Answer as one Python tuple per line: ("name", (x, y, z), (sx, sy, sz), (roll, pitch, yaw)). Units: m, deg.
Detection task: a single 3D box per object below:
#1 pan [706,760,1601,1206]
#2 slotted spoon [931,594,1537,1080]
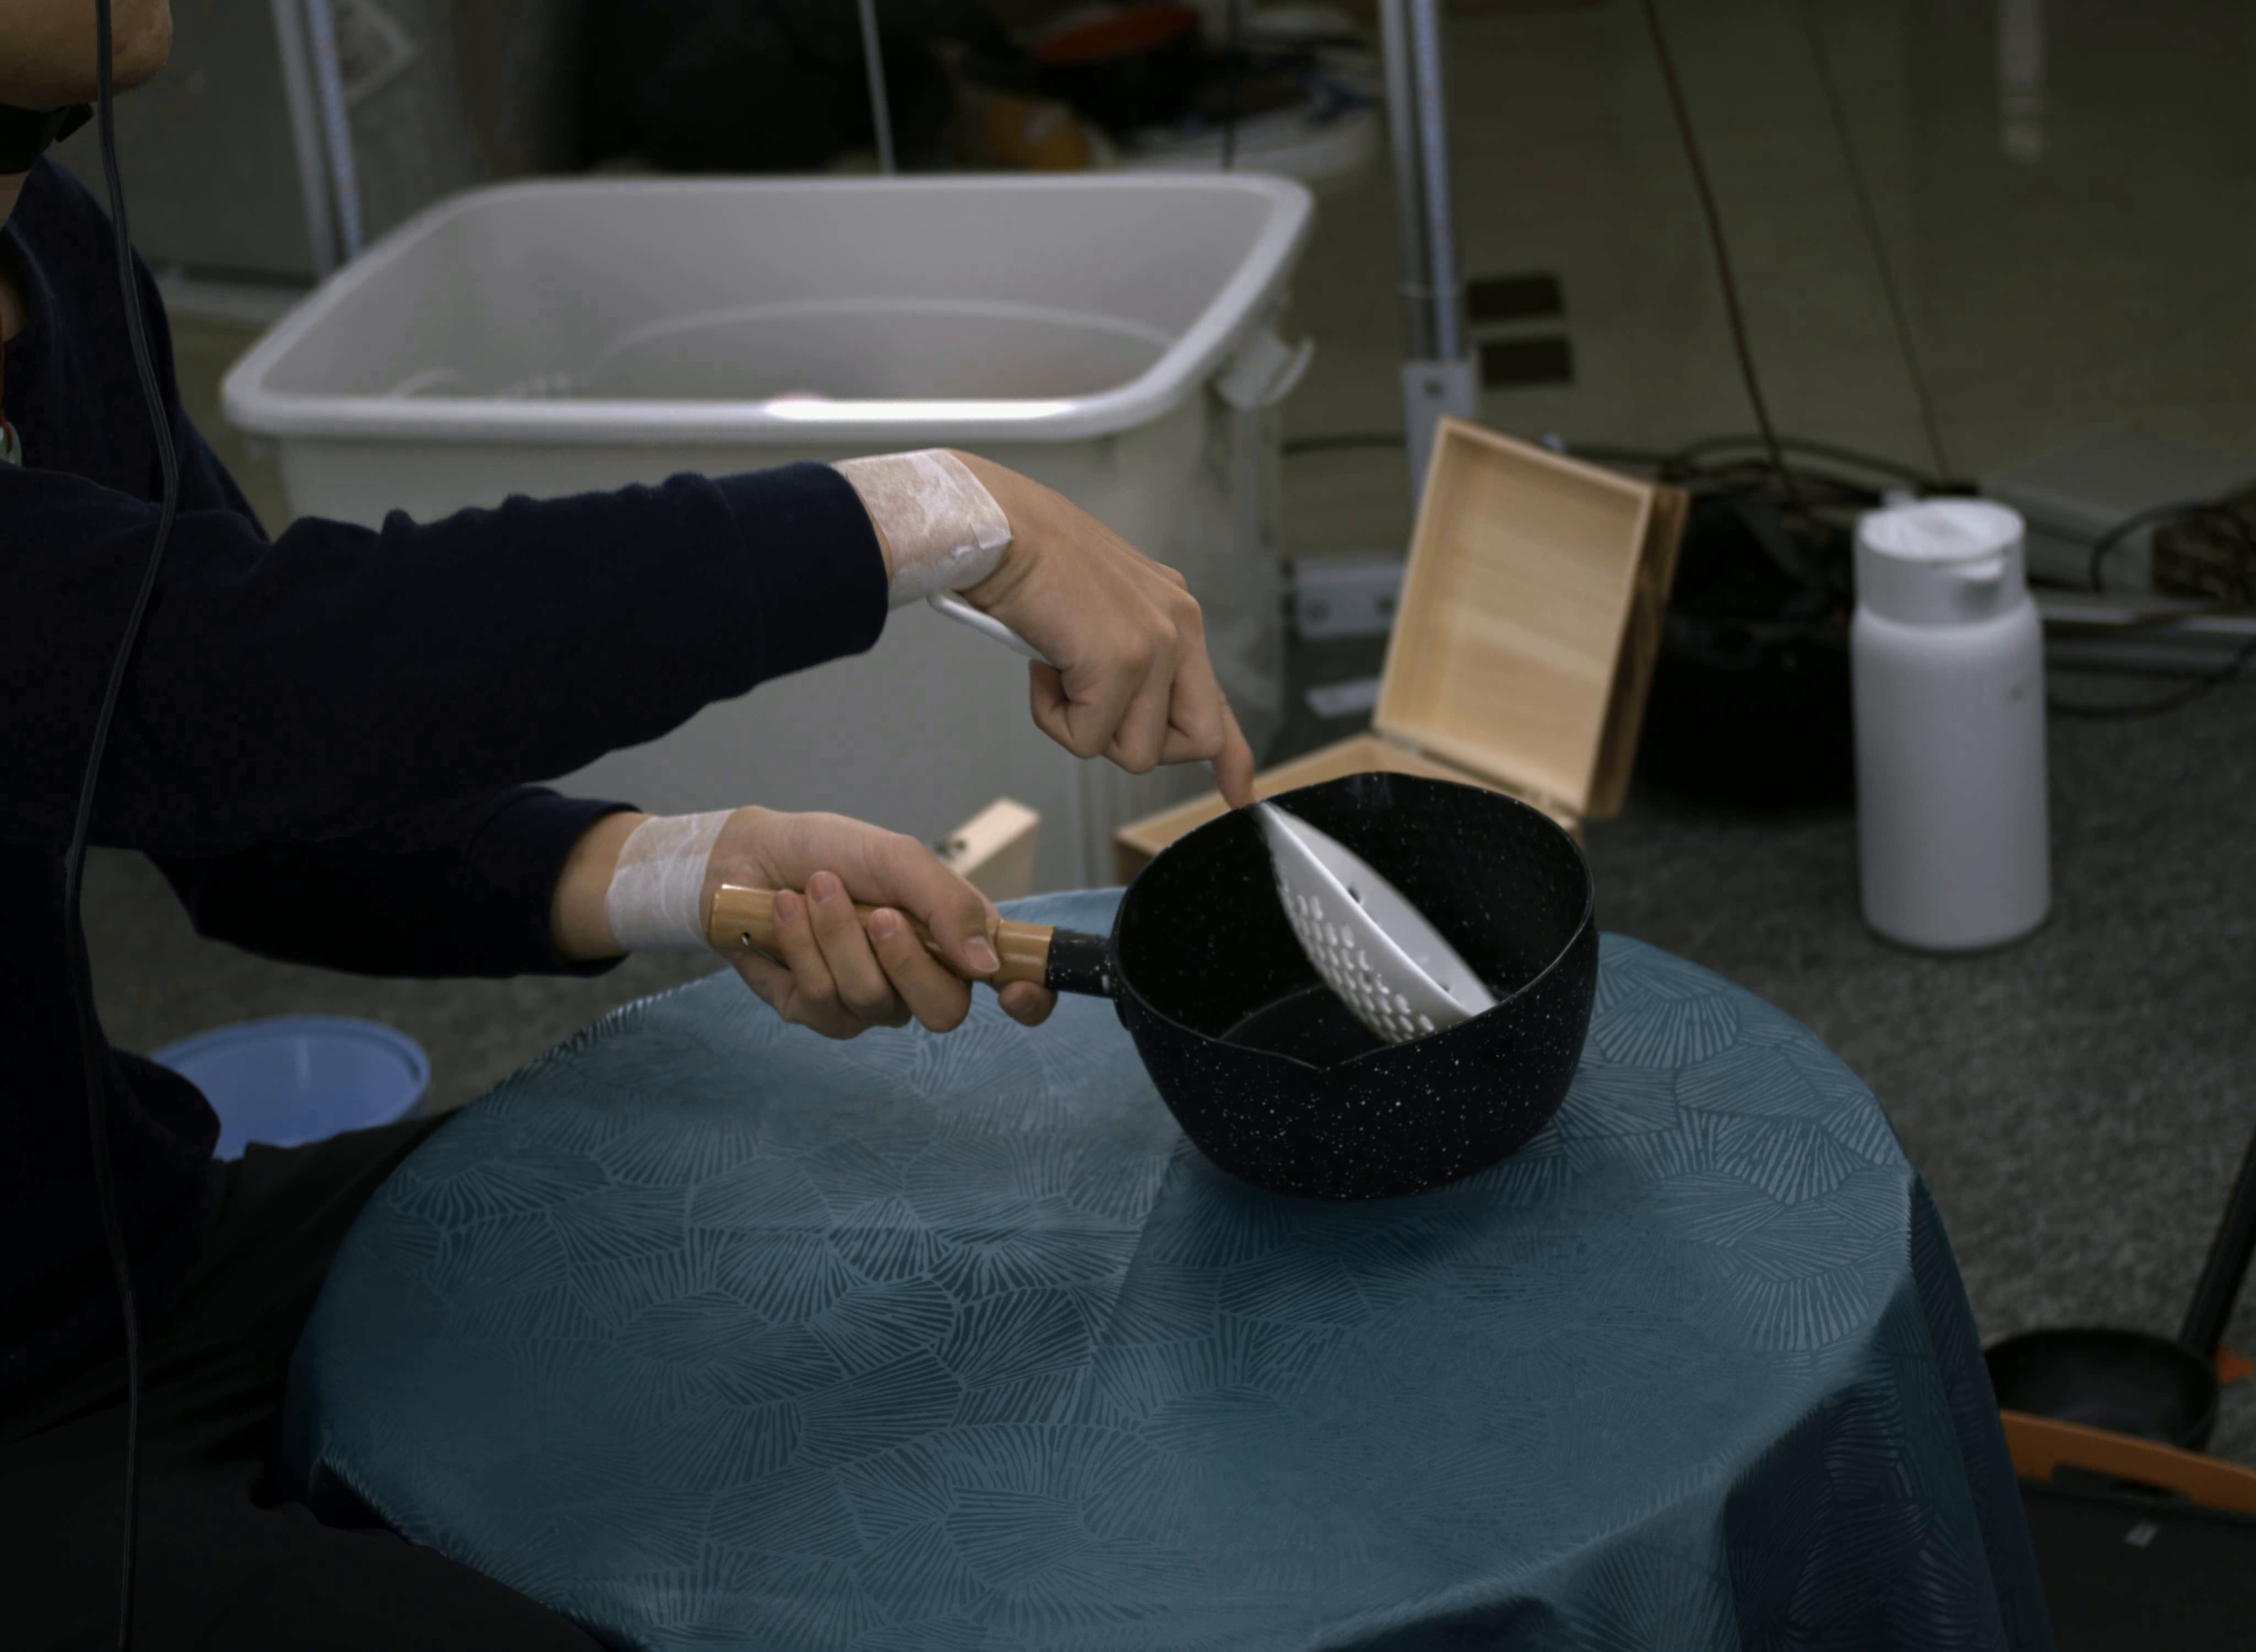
("pan", (0.010, 0.062, 2.165), (0.342, 0.110, 0.204), (-3, 34, 9))
("slotted spoon", (0.039, 0.001, 2.076), (0.050, 0.353, 0.135), (-41, 40, 2))
